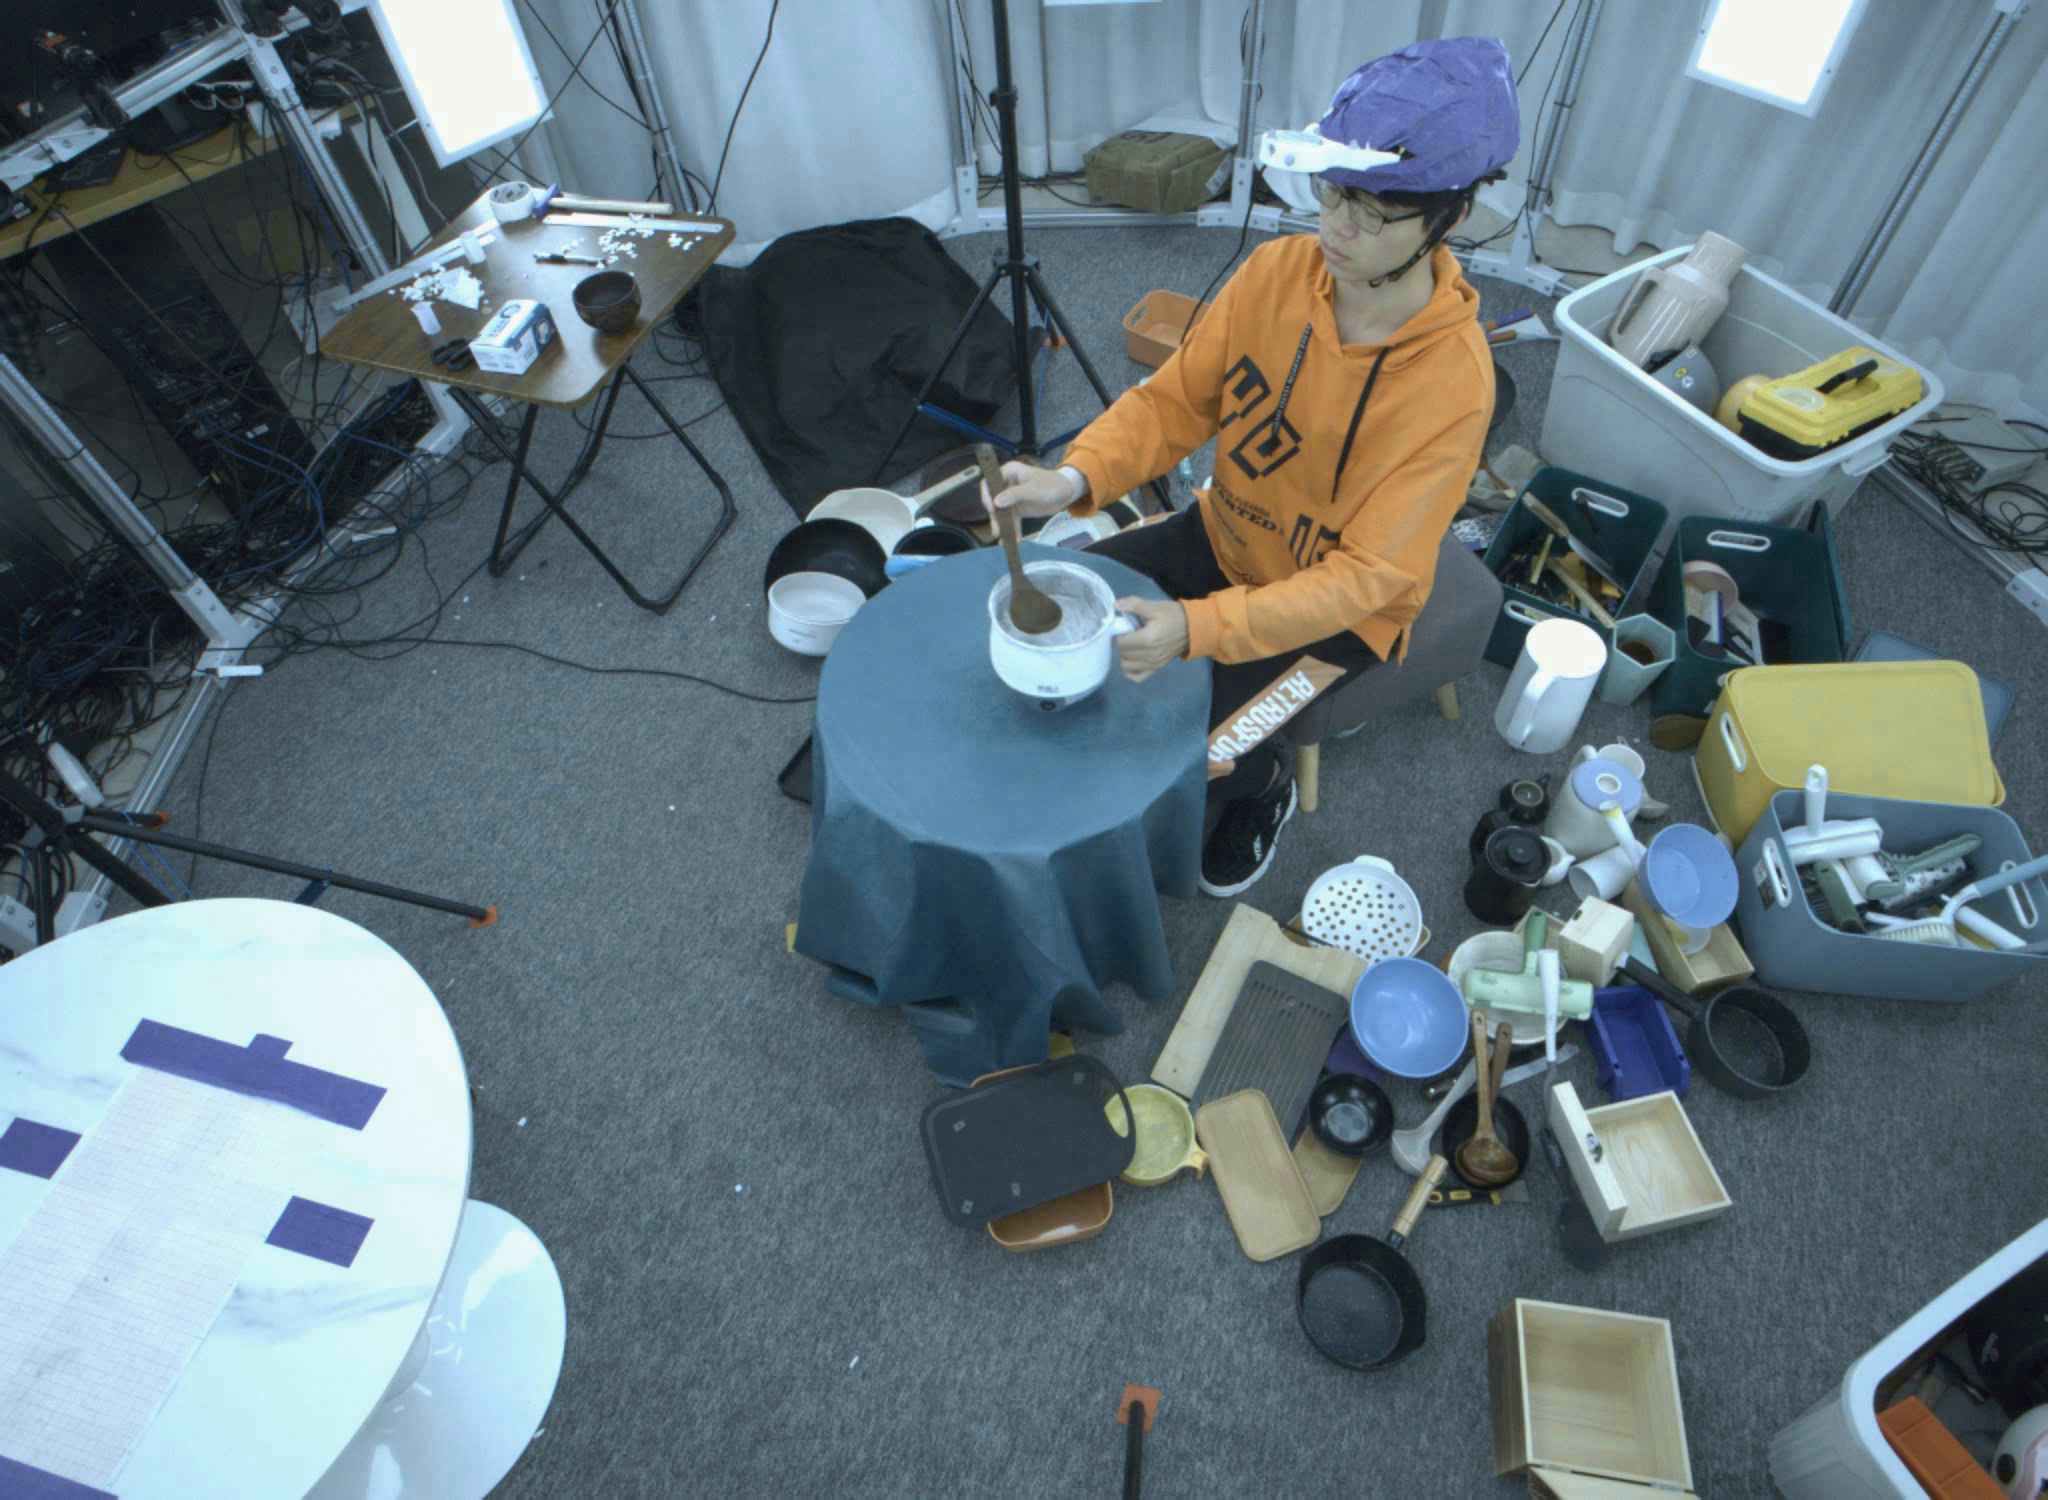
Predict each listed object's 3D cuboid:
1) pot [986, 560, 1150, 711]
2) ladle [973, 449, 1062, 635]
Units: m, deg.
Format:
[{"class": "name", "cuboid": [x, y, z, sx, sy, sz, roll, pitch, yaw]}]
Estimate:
[{"class": "pot", "cuboid": [0.065, -0.161, 1.749, 0.234, 0.138, 0.177, 2, 53, 1]}, {"class": "ladle", "cuboid": [-0.014, -0.290, 1.676, 0.077, 0.070, 0.275, -18, 96, -26]}]
